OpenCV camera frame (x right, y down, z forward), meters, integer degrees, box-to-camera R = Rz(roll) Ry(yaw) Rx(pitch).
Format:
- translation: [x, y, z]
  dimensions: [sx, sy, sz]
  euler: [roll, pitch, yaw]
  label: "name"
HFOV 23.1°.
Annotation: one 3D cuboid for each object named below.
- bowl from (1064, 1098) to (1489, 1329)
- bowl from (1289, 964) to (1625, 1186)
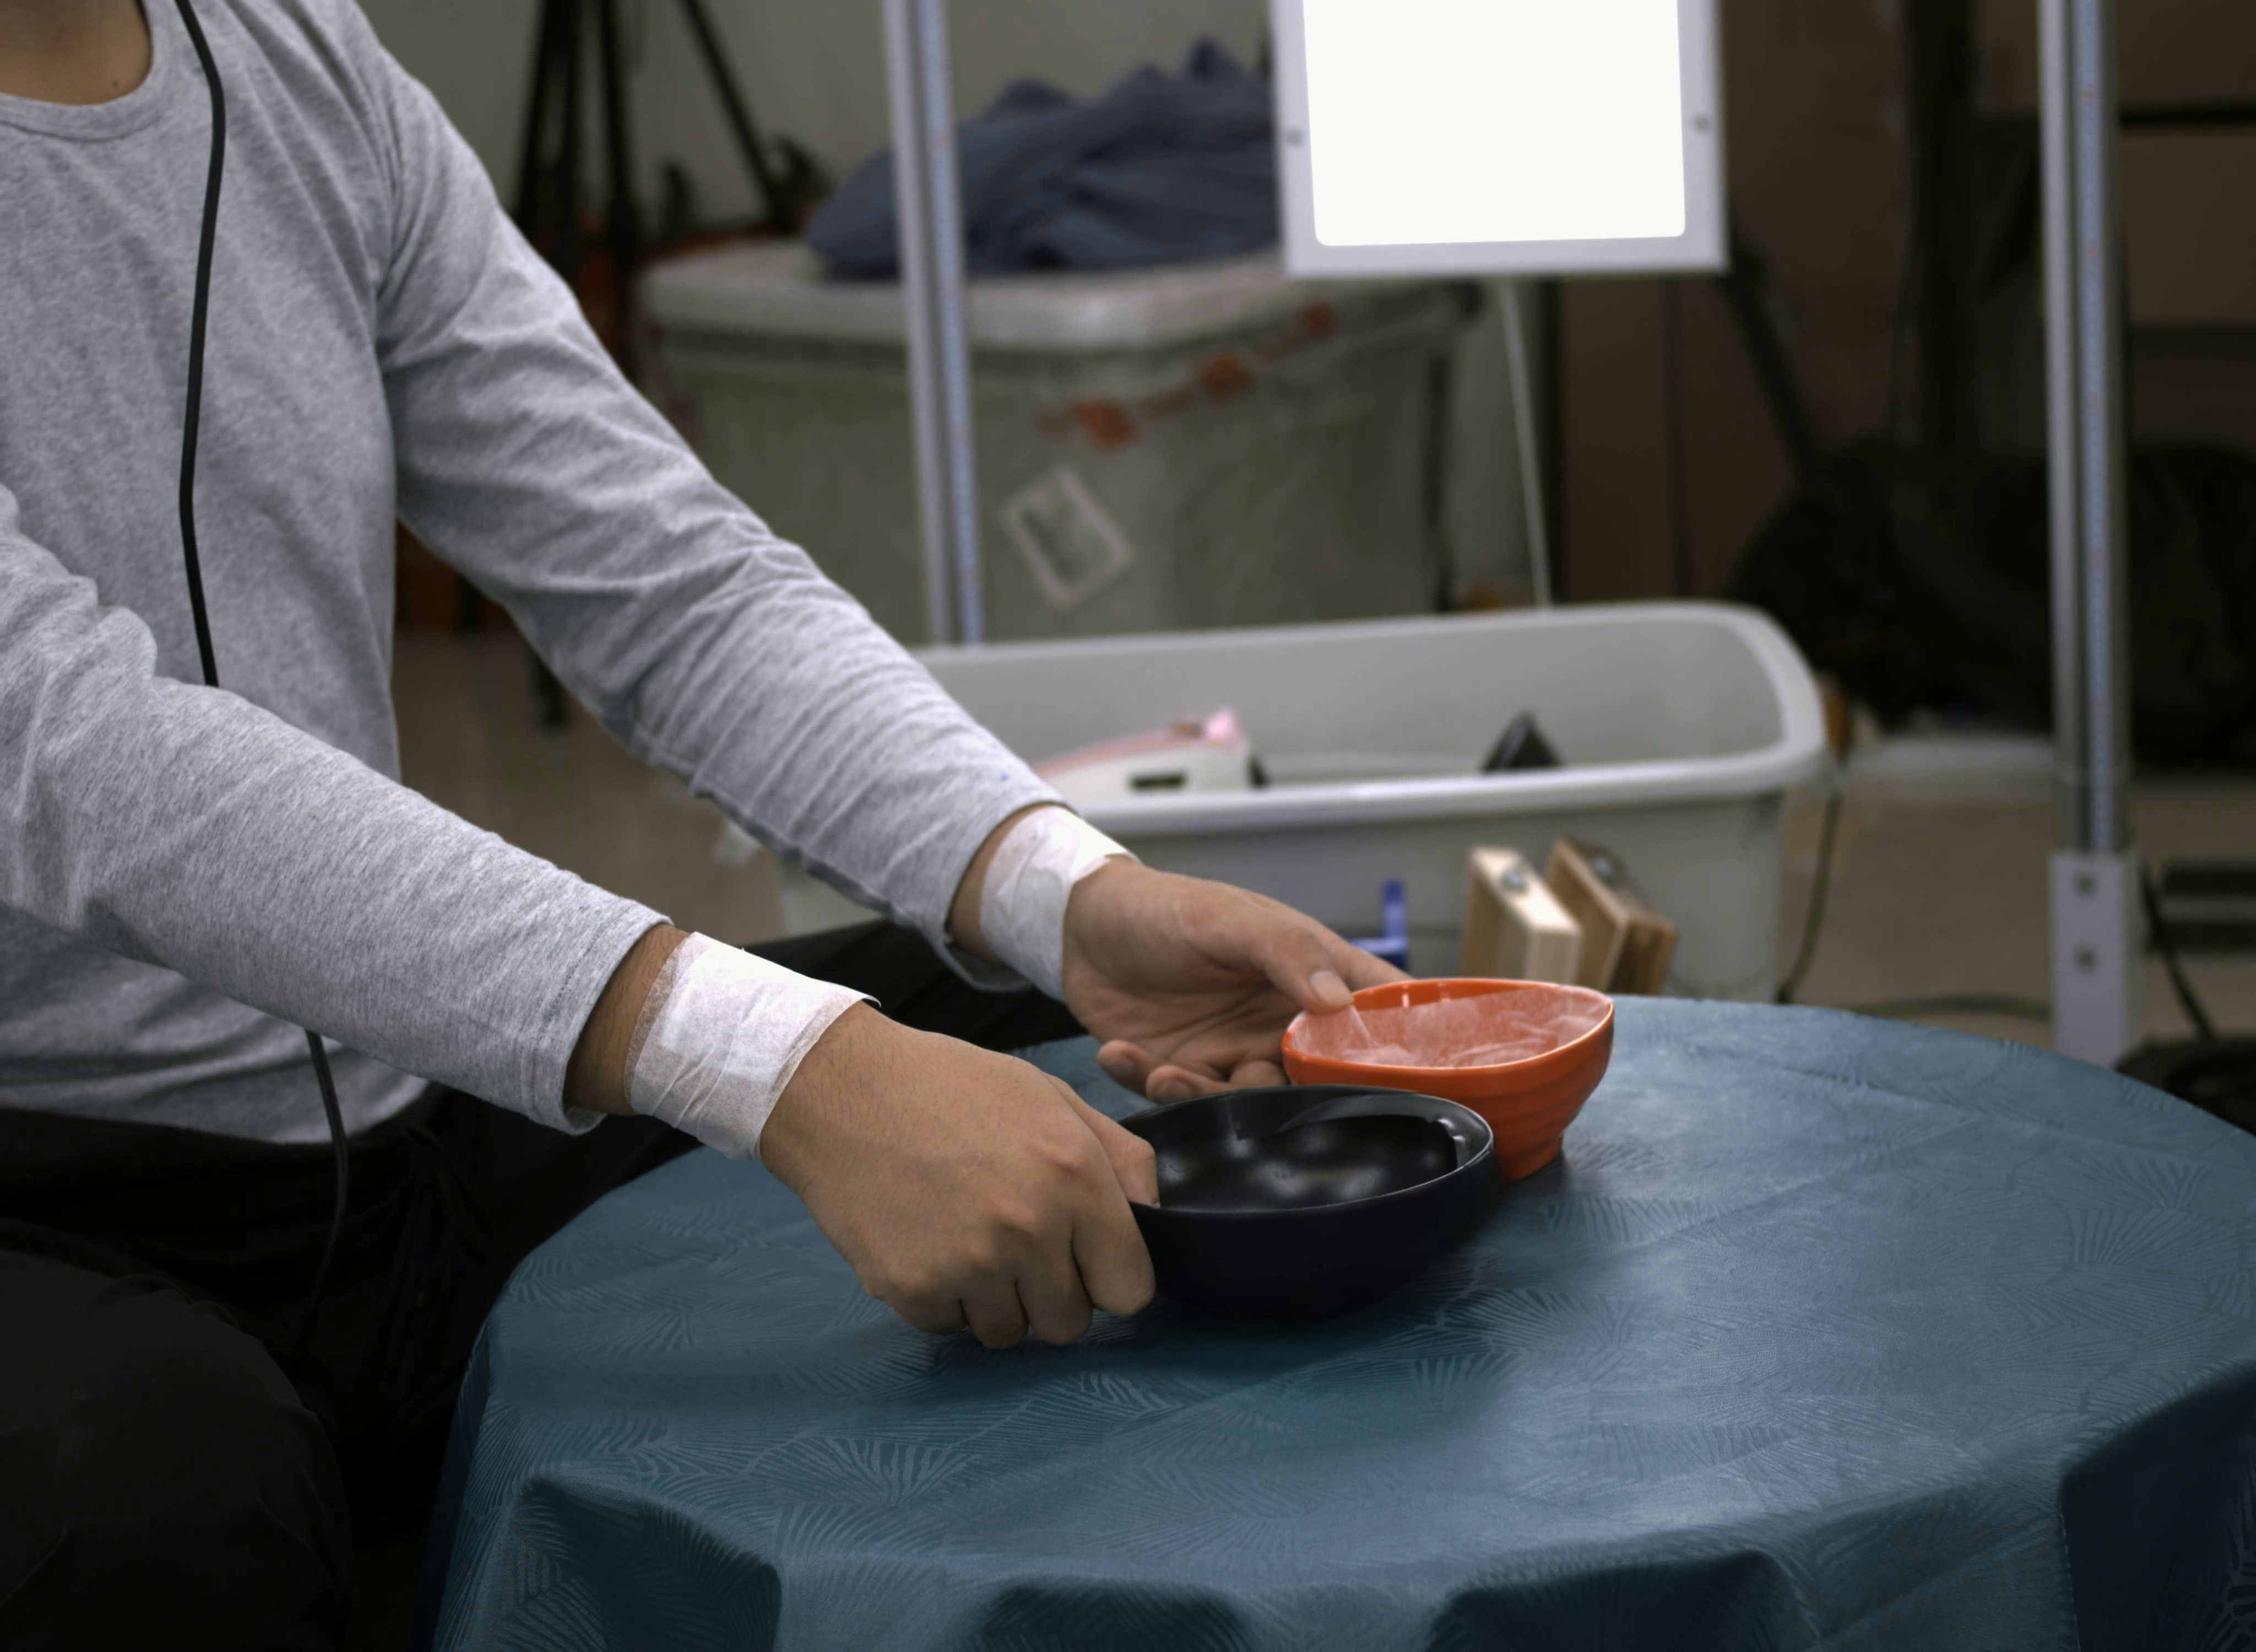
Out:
- translation: [0.051, 0.129, 1.782]
  dimensions: [0.140, 0.050, 0.140]
  euler: [-7, 10, 0]
  label: "bowl"
- translation: [0.115, 0.088, 1.901]
  dimensions: [0.118, 0.051, 0.119]
  euler: [-3, 16, 0]
  label: "bowl"
